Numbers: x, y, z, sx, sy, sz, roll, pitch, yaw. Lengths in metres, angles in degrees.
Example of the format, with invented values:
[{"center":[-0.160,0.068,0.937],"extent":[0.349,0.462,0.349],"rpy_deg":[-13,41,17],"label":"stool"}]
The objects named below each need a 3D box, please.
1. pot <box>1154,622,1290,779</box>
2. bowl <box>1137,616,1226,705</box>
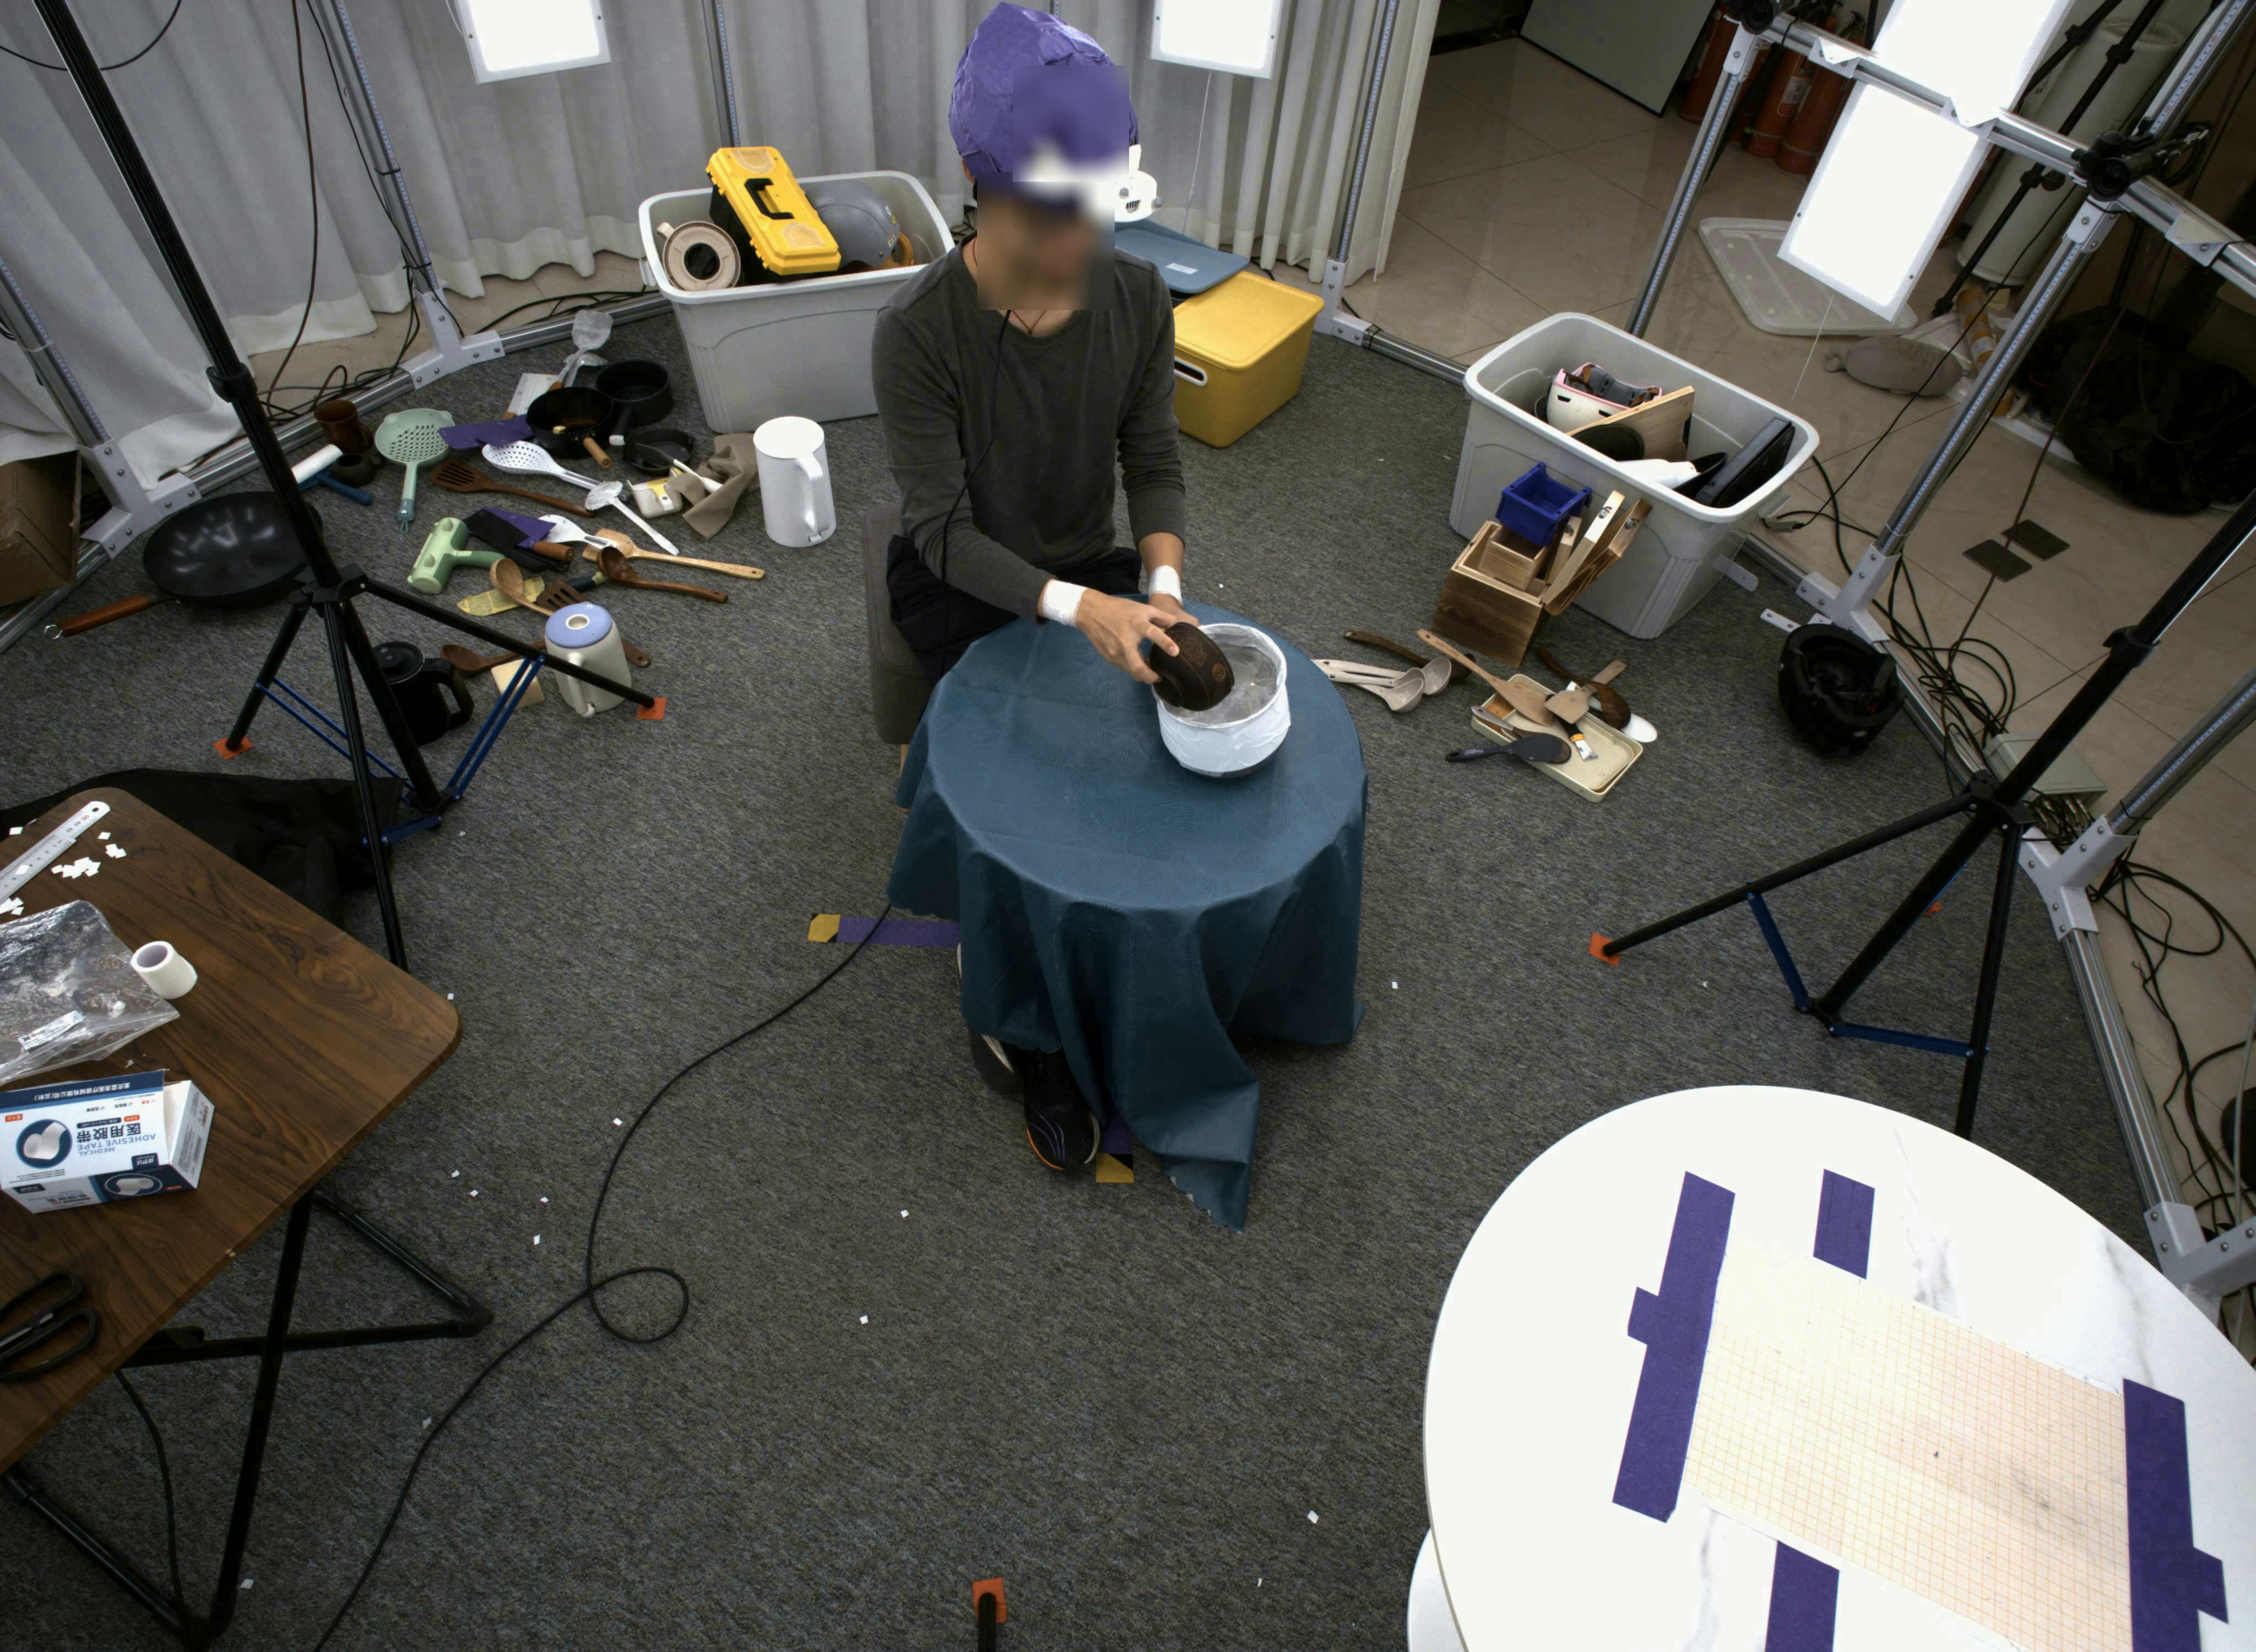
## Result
[{"center":[0.113,-0.181,1.730],"extent":[0.179,0.133,0.239],"rpy_deg":[-28,56,-10],"label":"pot"},{"center":[0.060,-0.203,1.641],"extent":[0.119,0.115,0.070],"rpy_deg":[34,66,22],"label":"bowl"}]
